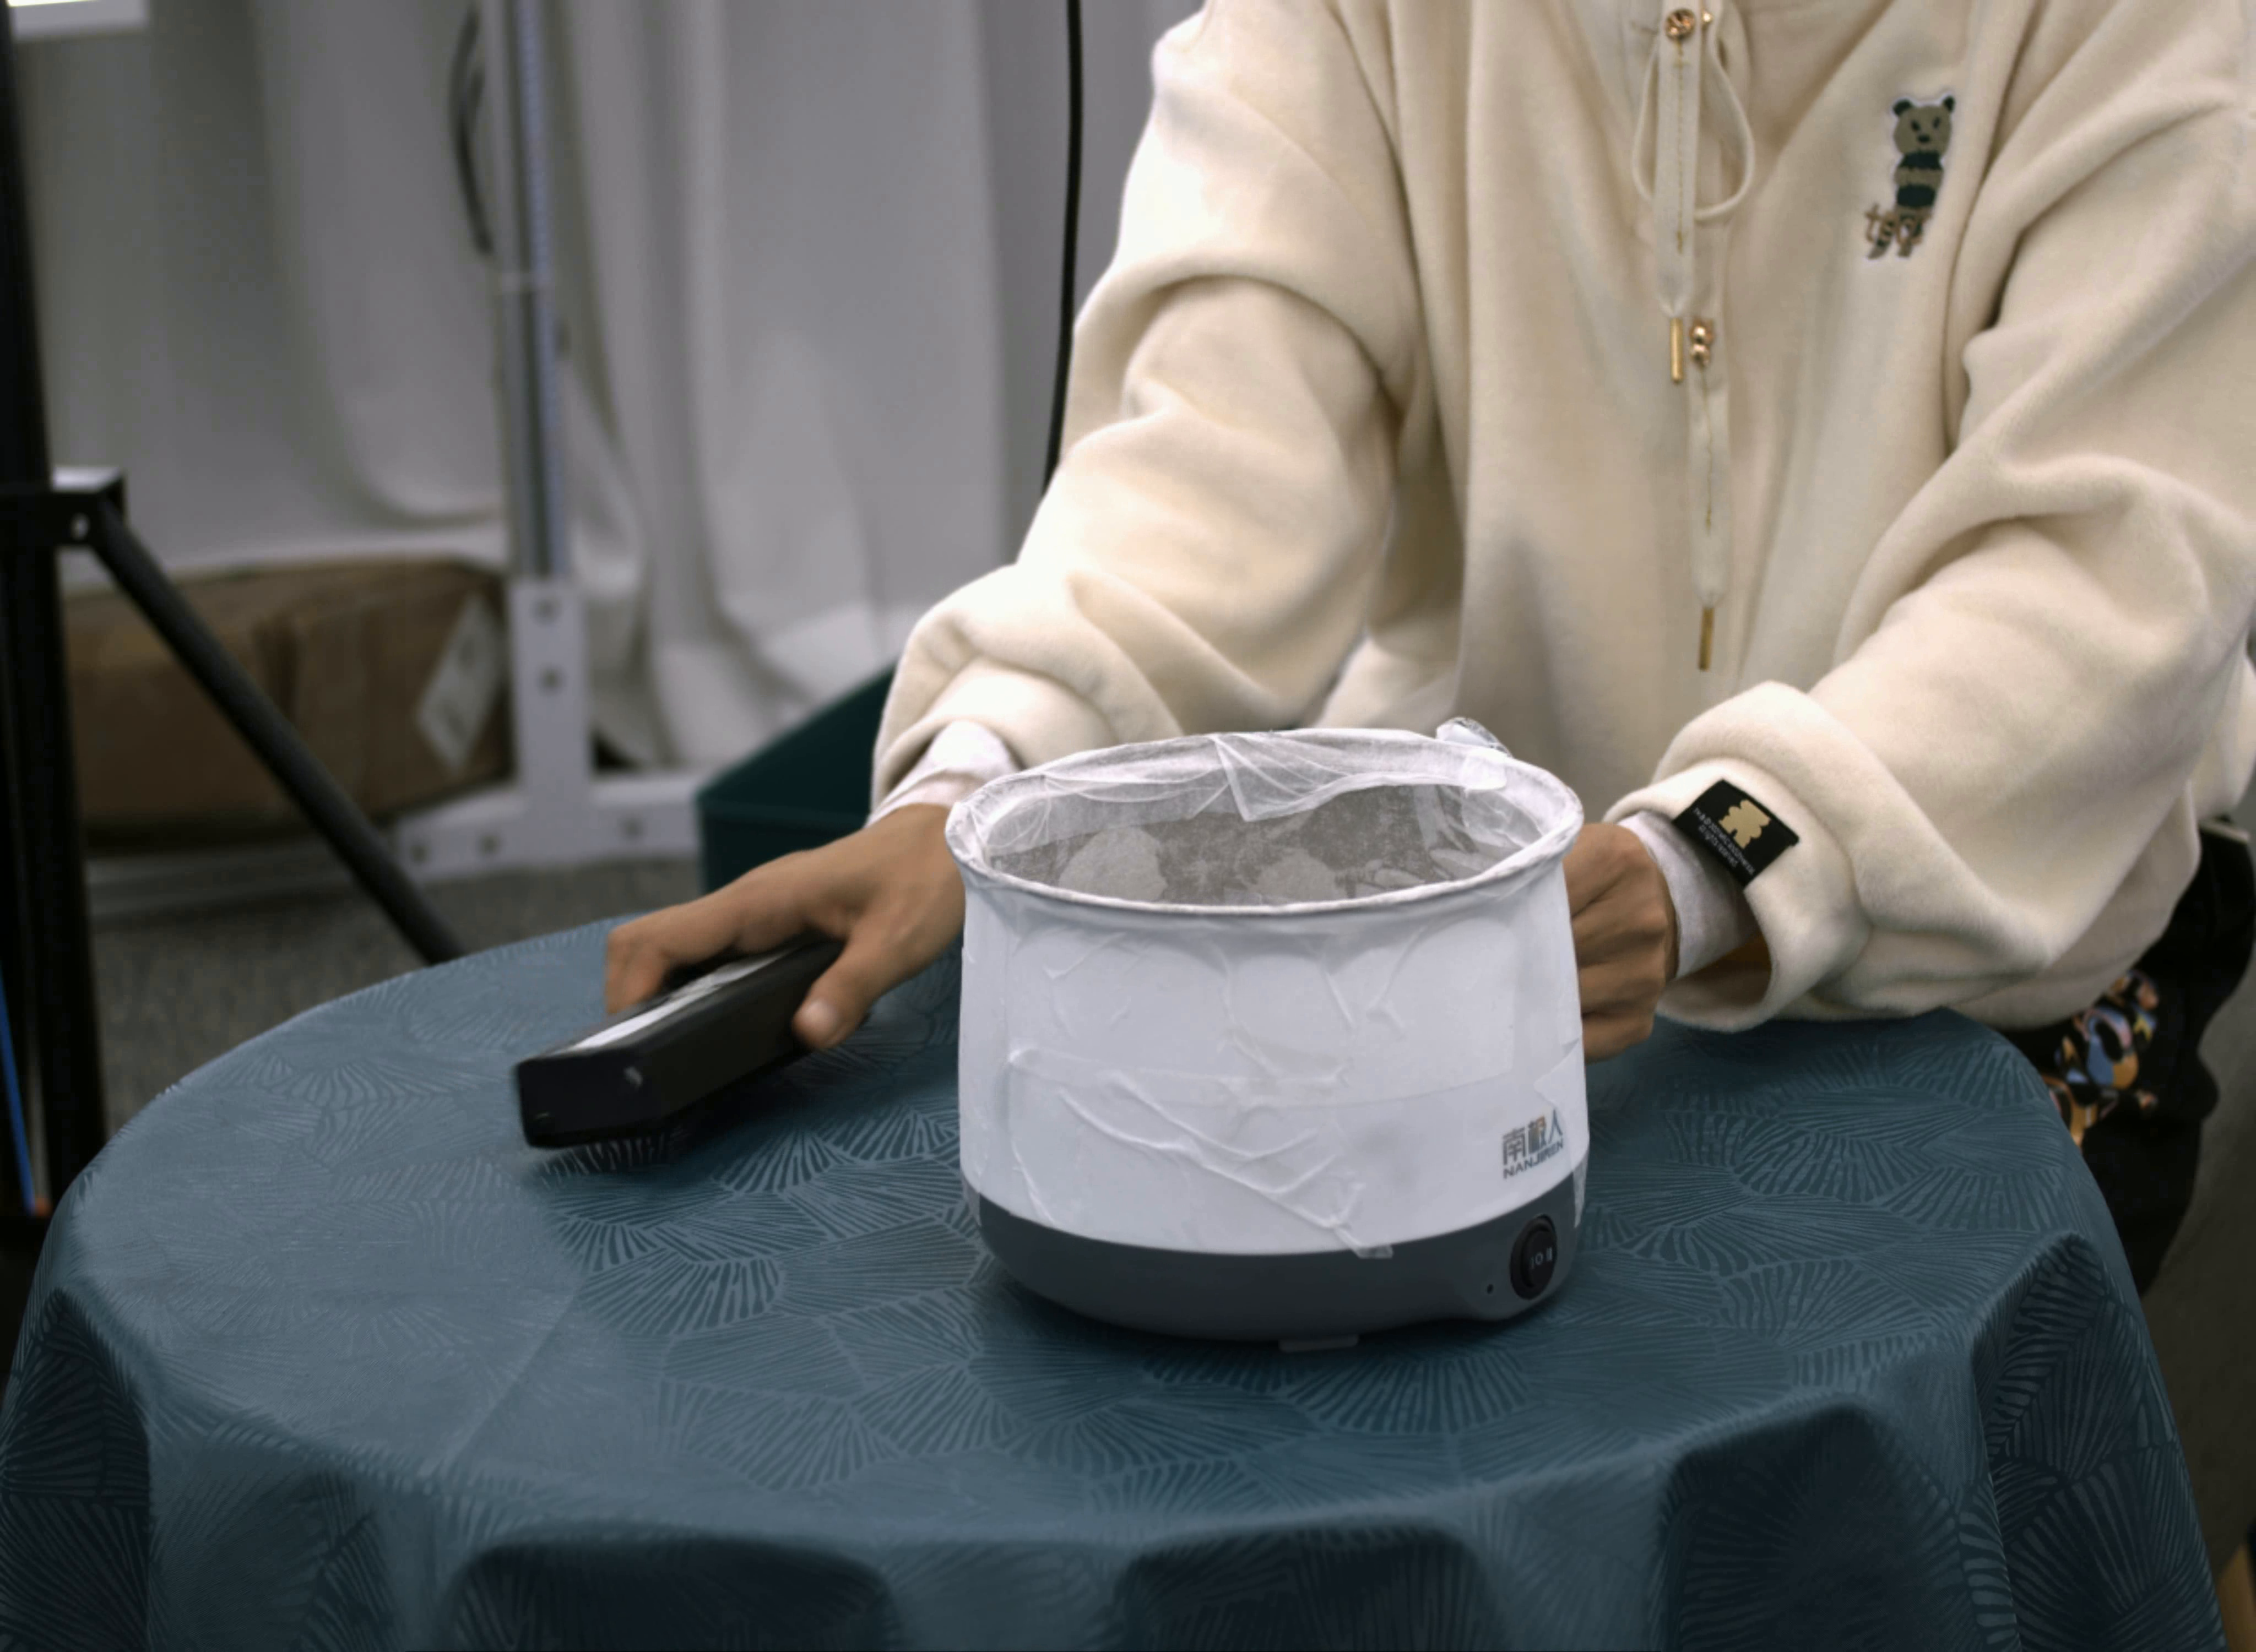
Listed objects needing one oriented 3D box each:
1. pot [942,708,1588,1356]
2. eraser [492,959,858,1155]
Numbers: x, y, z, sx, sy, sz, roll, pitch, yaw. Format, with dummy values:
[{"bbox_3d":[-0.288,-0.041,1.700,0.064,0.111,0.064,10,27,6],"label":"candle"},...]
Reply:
[{"bbox_3d":[0.055,0.050,1.495,0.182,0.136,0.229,9,20,35],"label":"pot"},{"bbox_3d":[-0.137,0.071,1.639,0.054,0.030,0.123,-6,11,33],"label":"eraser"}]
